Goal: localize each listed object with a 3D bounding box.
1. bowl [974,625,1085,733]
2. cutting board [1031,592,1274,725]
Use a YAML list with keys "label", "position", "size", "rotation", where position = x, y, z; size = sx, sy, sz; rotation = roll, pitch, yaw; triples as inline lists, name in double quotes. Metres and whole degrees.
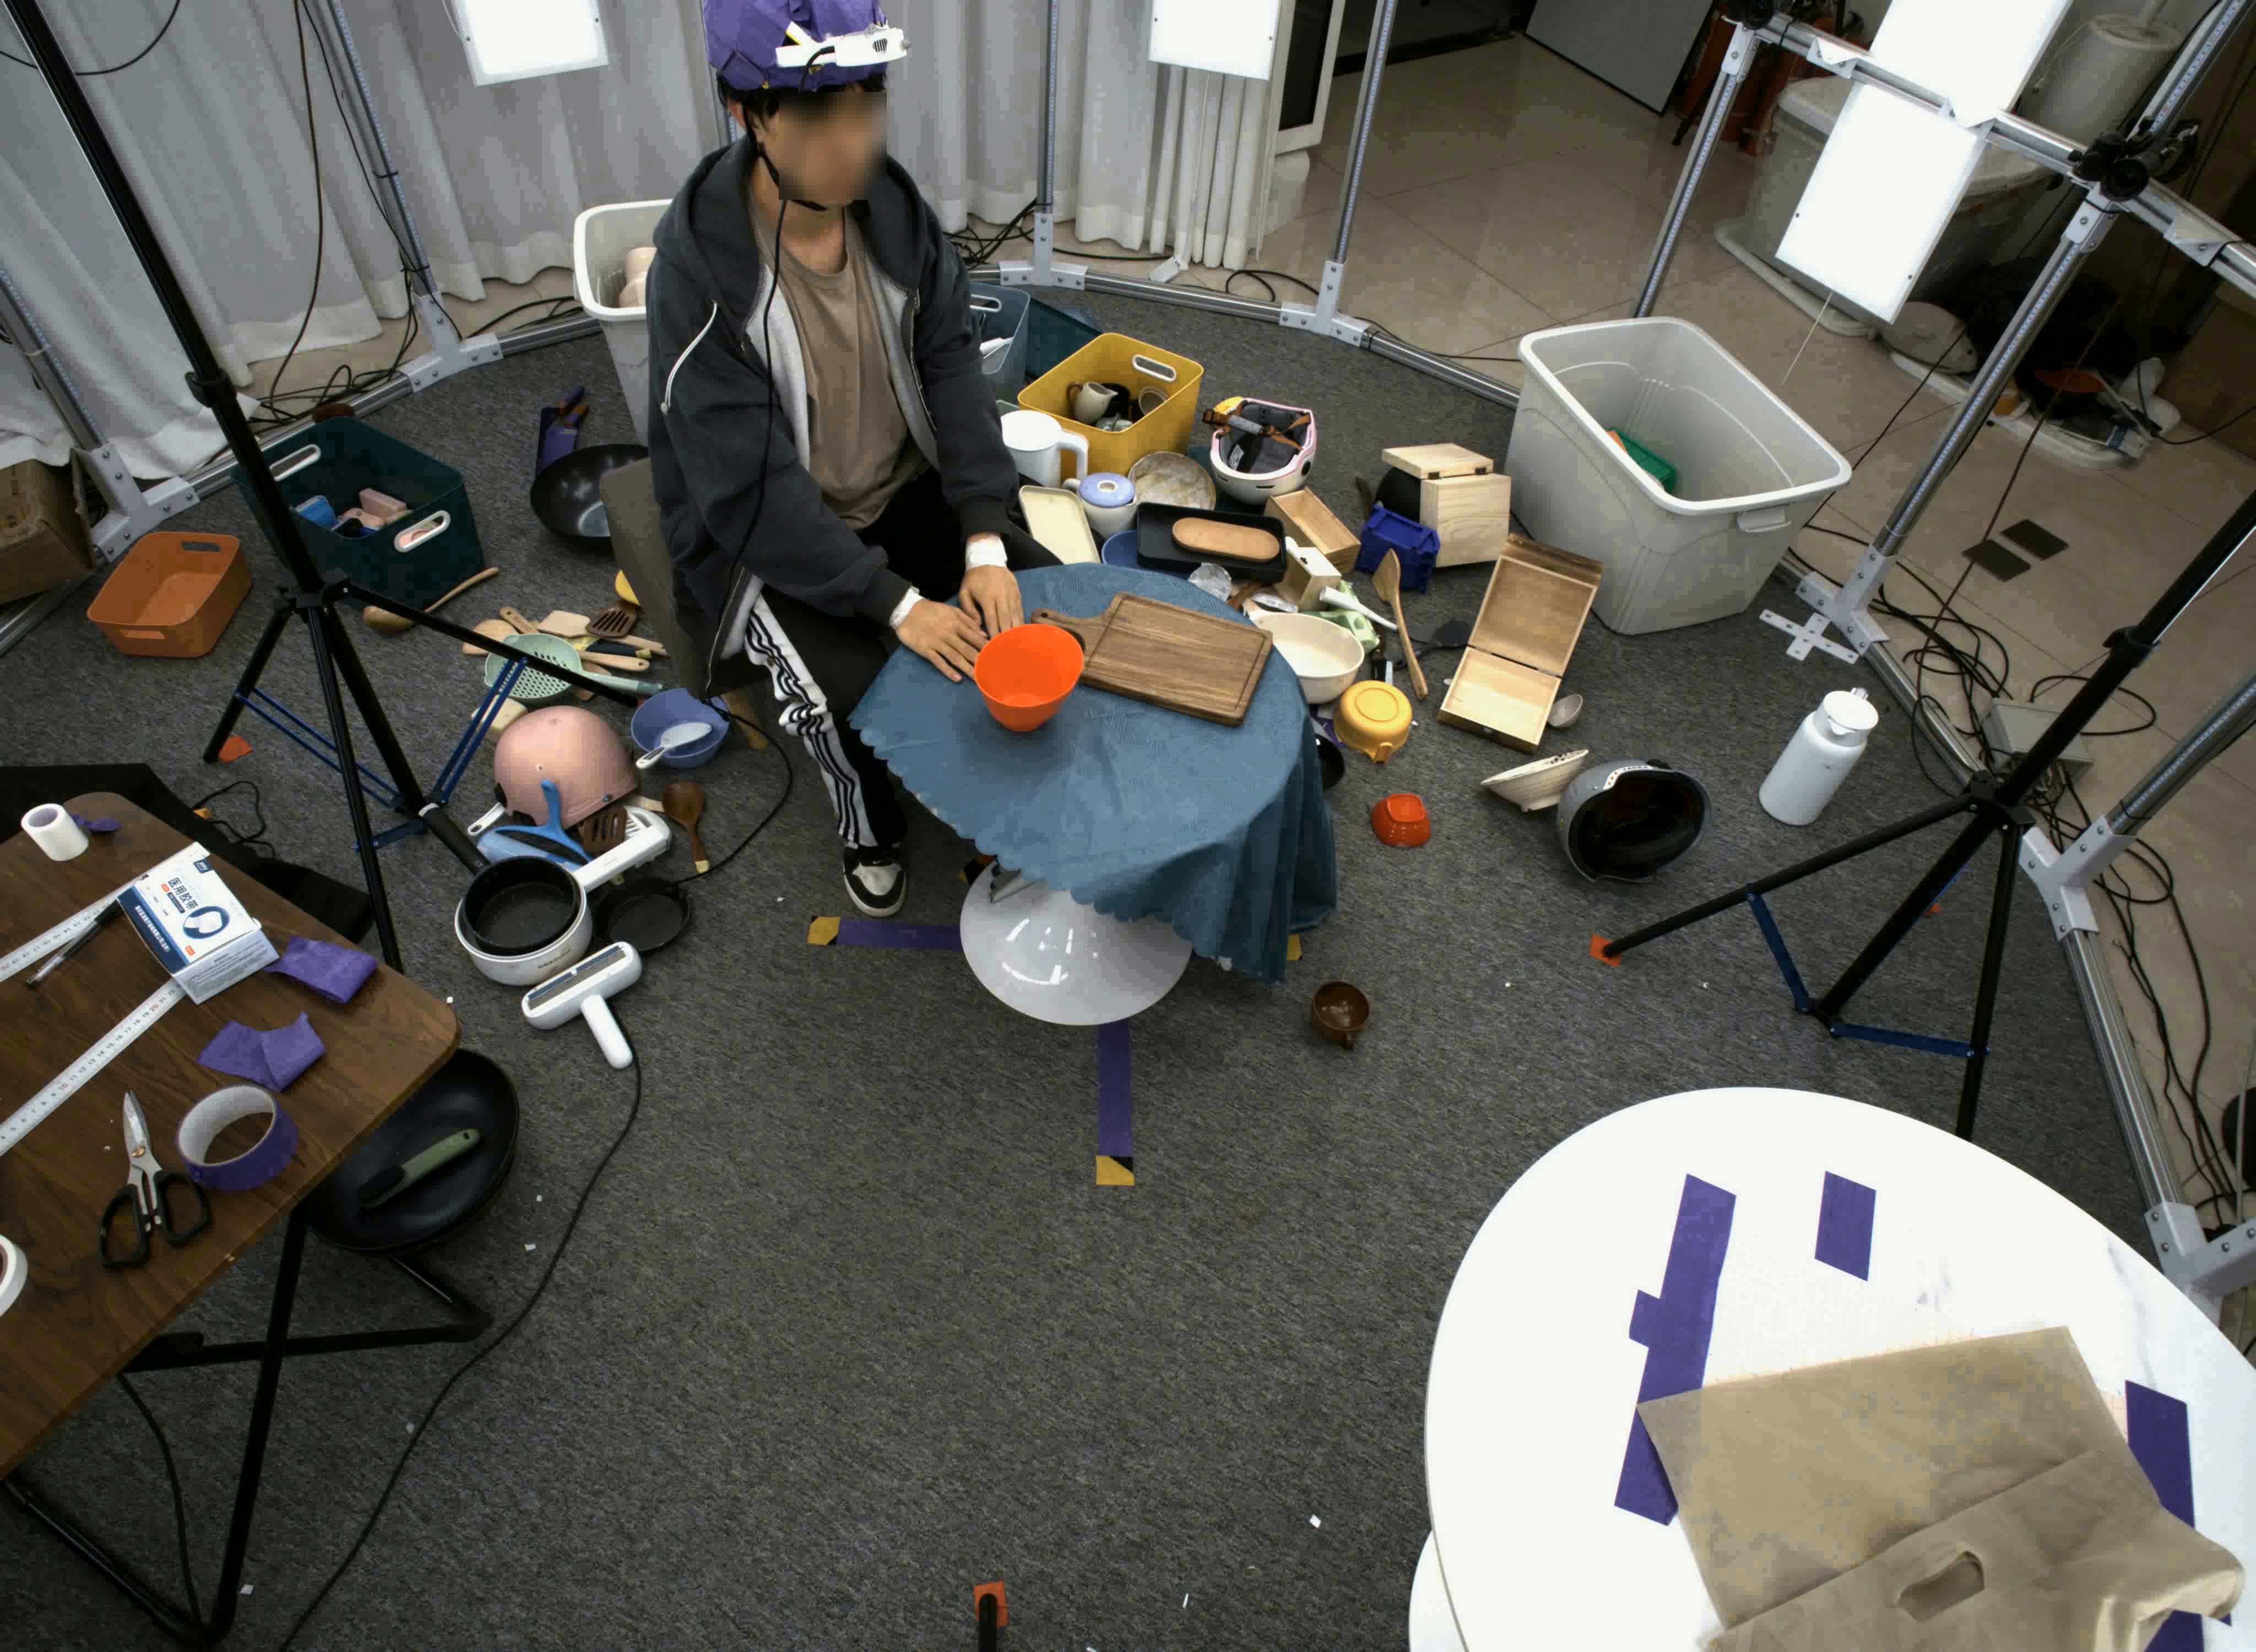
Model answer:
- label: "bowl"
  position: [-0.135, -0.190, 1.757]
  size: [0.148, 0.102, 0.152]
  rotation: [2, 49, -3]
- label: "cutting board"
  position: [0.024, -0.262, 1.883]
  size: [0.353, 0.022, 0.205]
  rotation: [16, 50, 11]
